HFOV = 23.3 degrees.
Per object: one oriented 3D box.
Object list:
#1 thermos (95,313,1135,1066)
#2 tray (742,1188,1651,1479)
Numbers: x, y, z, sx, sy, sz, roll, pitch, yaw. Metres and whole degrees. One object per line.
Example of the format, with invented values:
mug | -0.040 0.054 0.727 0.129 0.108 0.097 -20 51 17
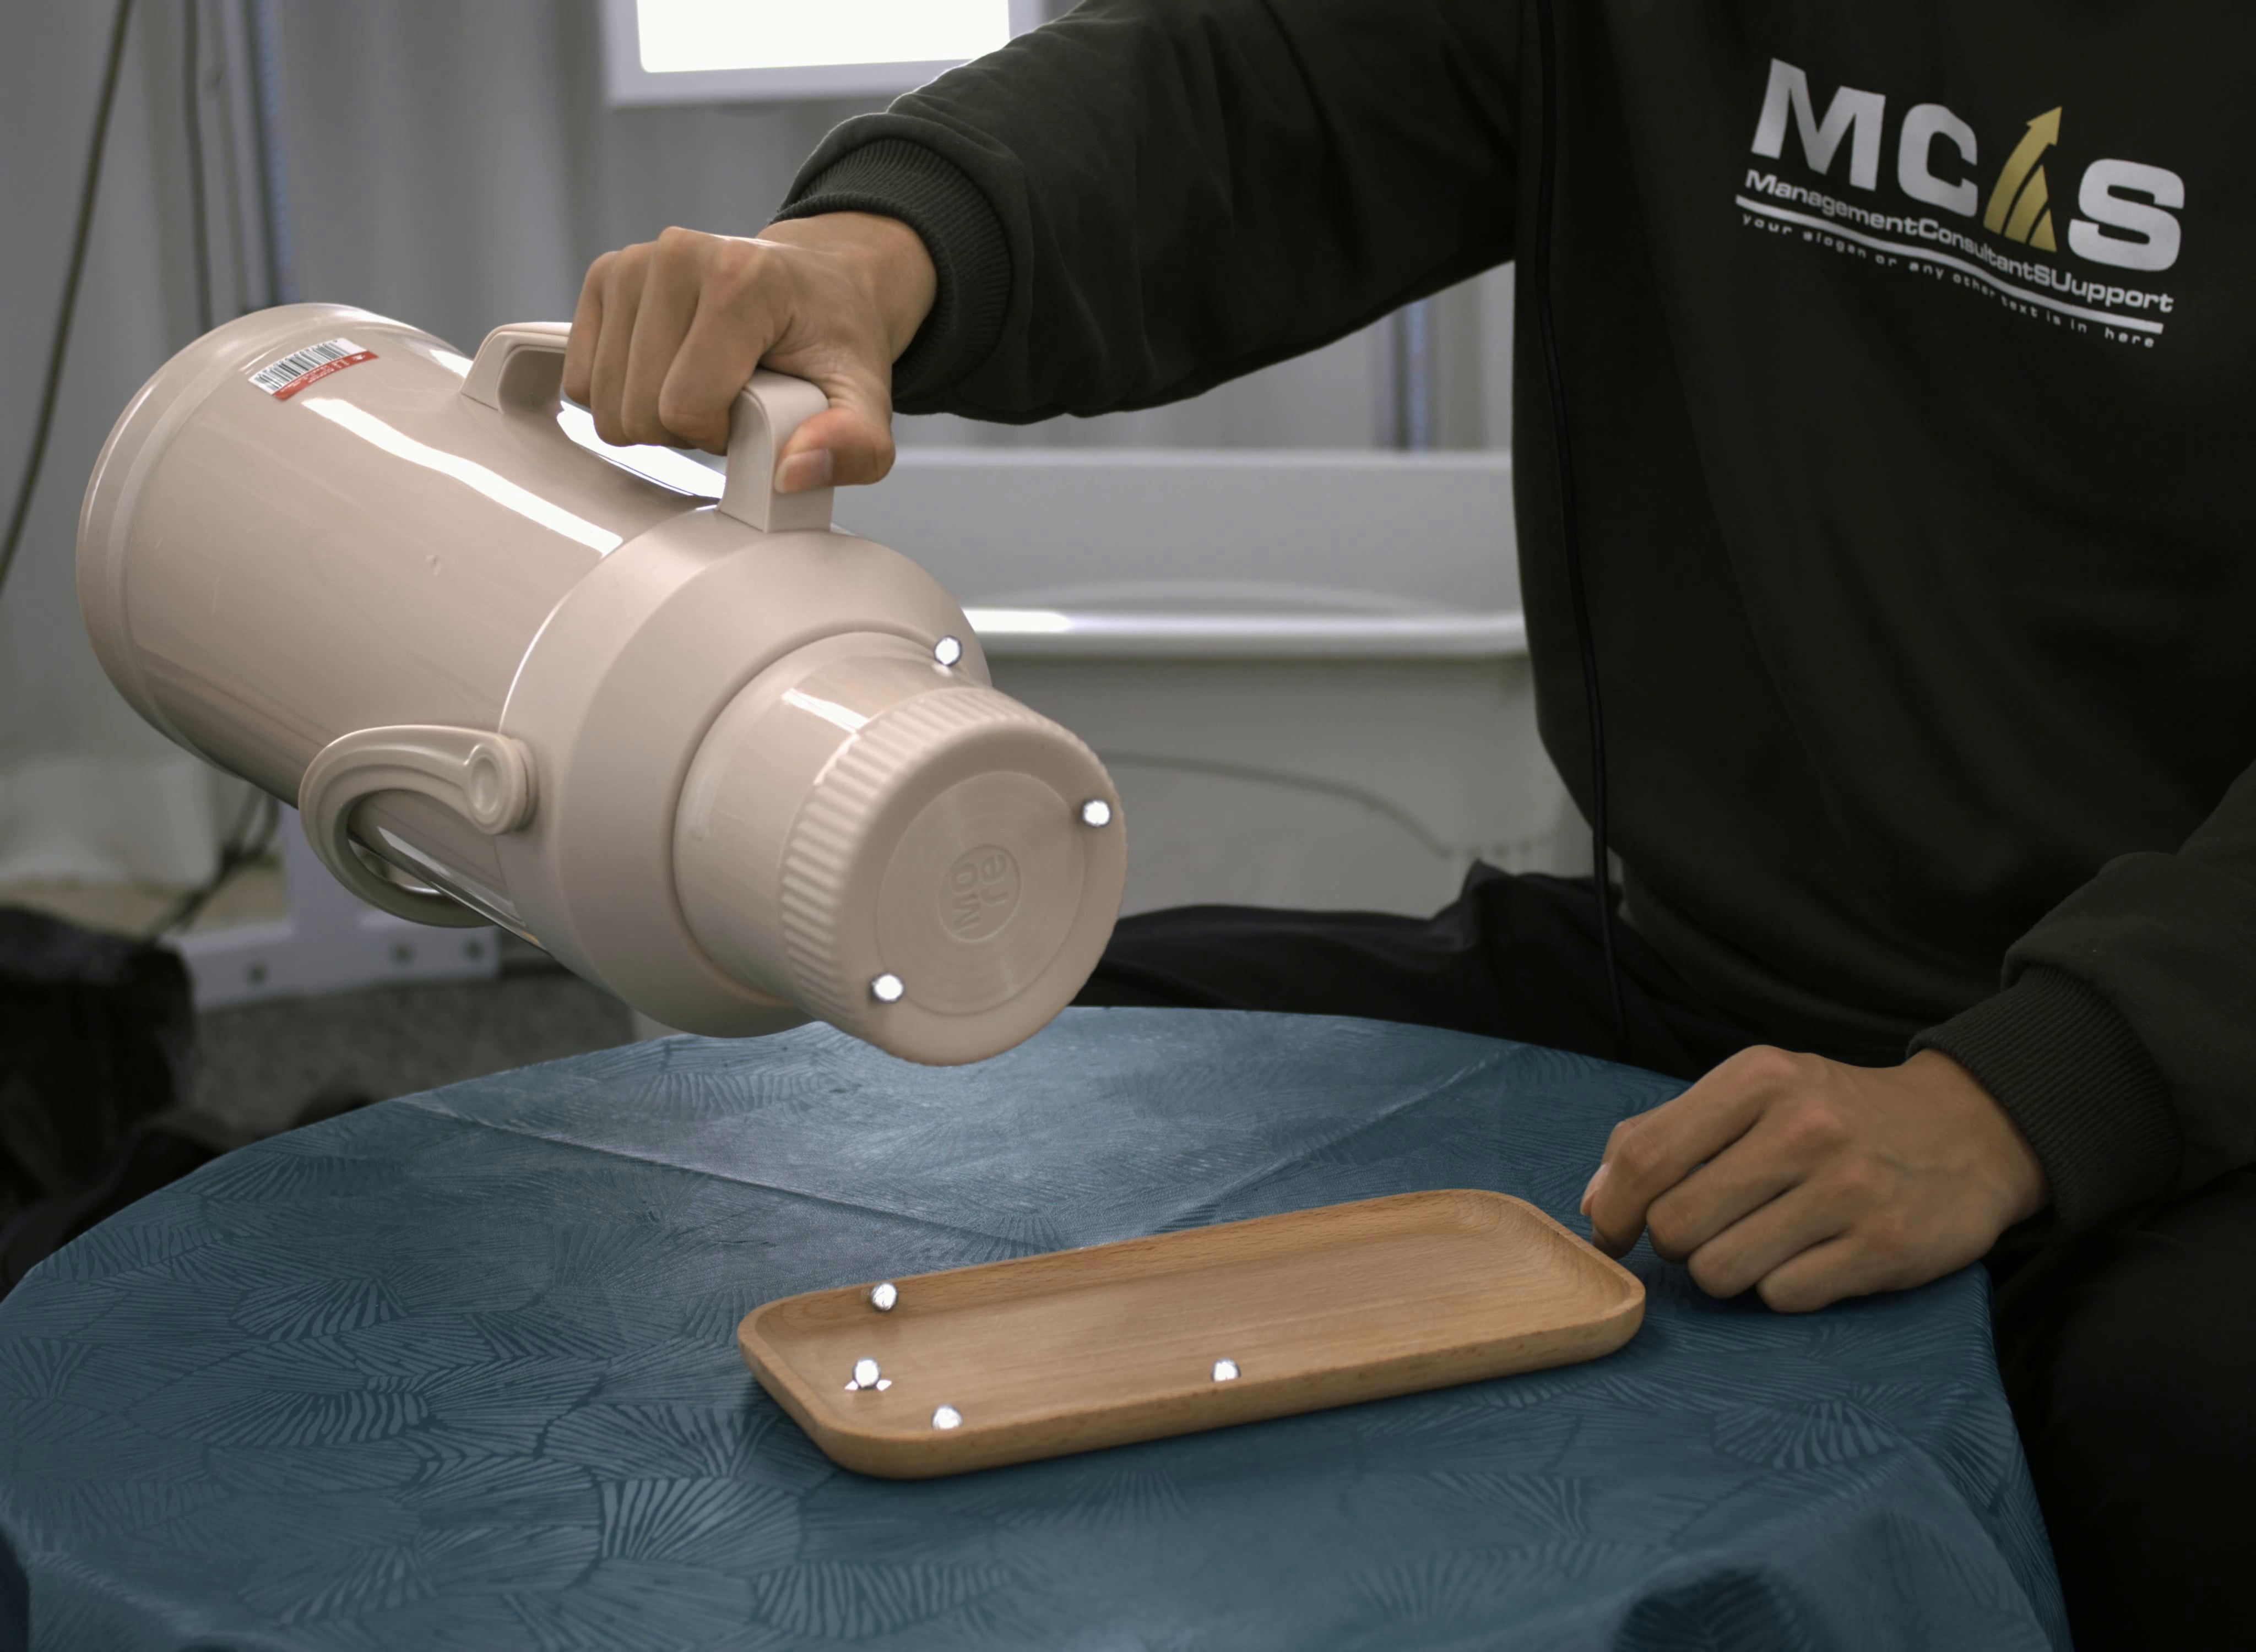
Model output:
thermos | -0.156 -0.053 1.684 0.174 0.206 0.410 -5 20 -36
tray | 0.020 0.145 1.572 0.249 0.023 0.132 -7 18 -18
